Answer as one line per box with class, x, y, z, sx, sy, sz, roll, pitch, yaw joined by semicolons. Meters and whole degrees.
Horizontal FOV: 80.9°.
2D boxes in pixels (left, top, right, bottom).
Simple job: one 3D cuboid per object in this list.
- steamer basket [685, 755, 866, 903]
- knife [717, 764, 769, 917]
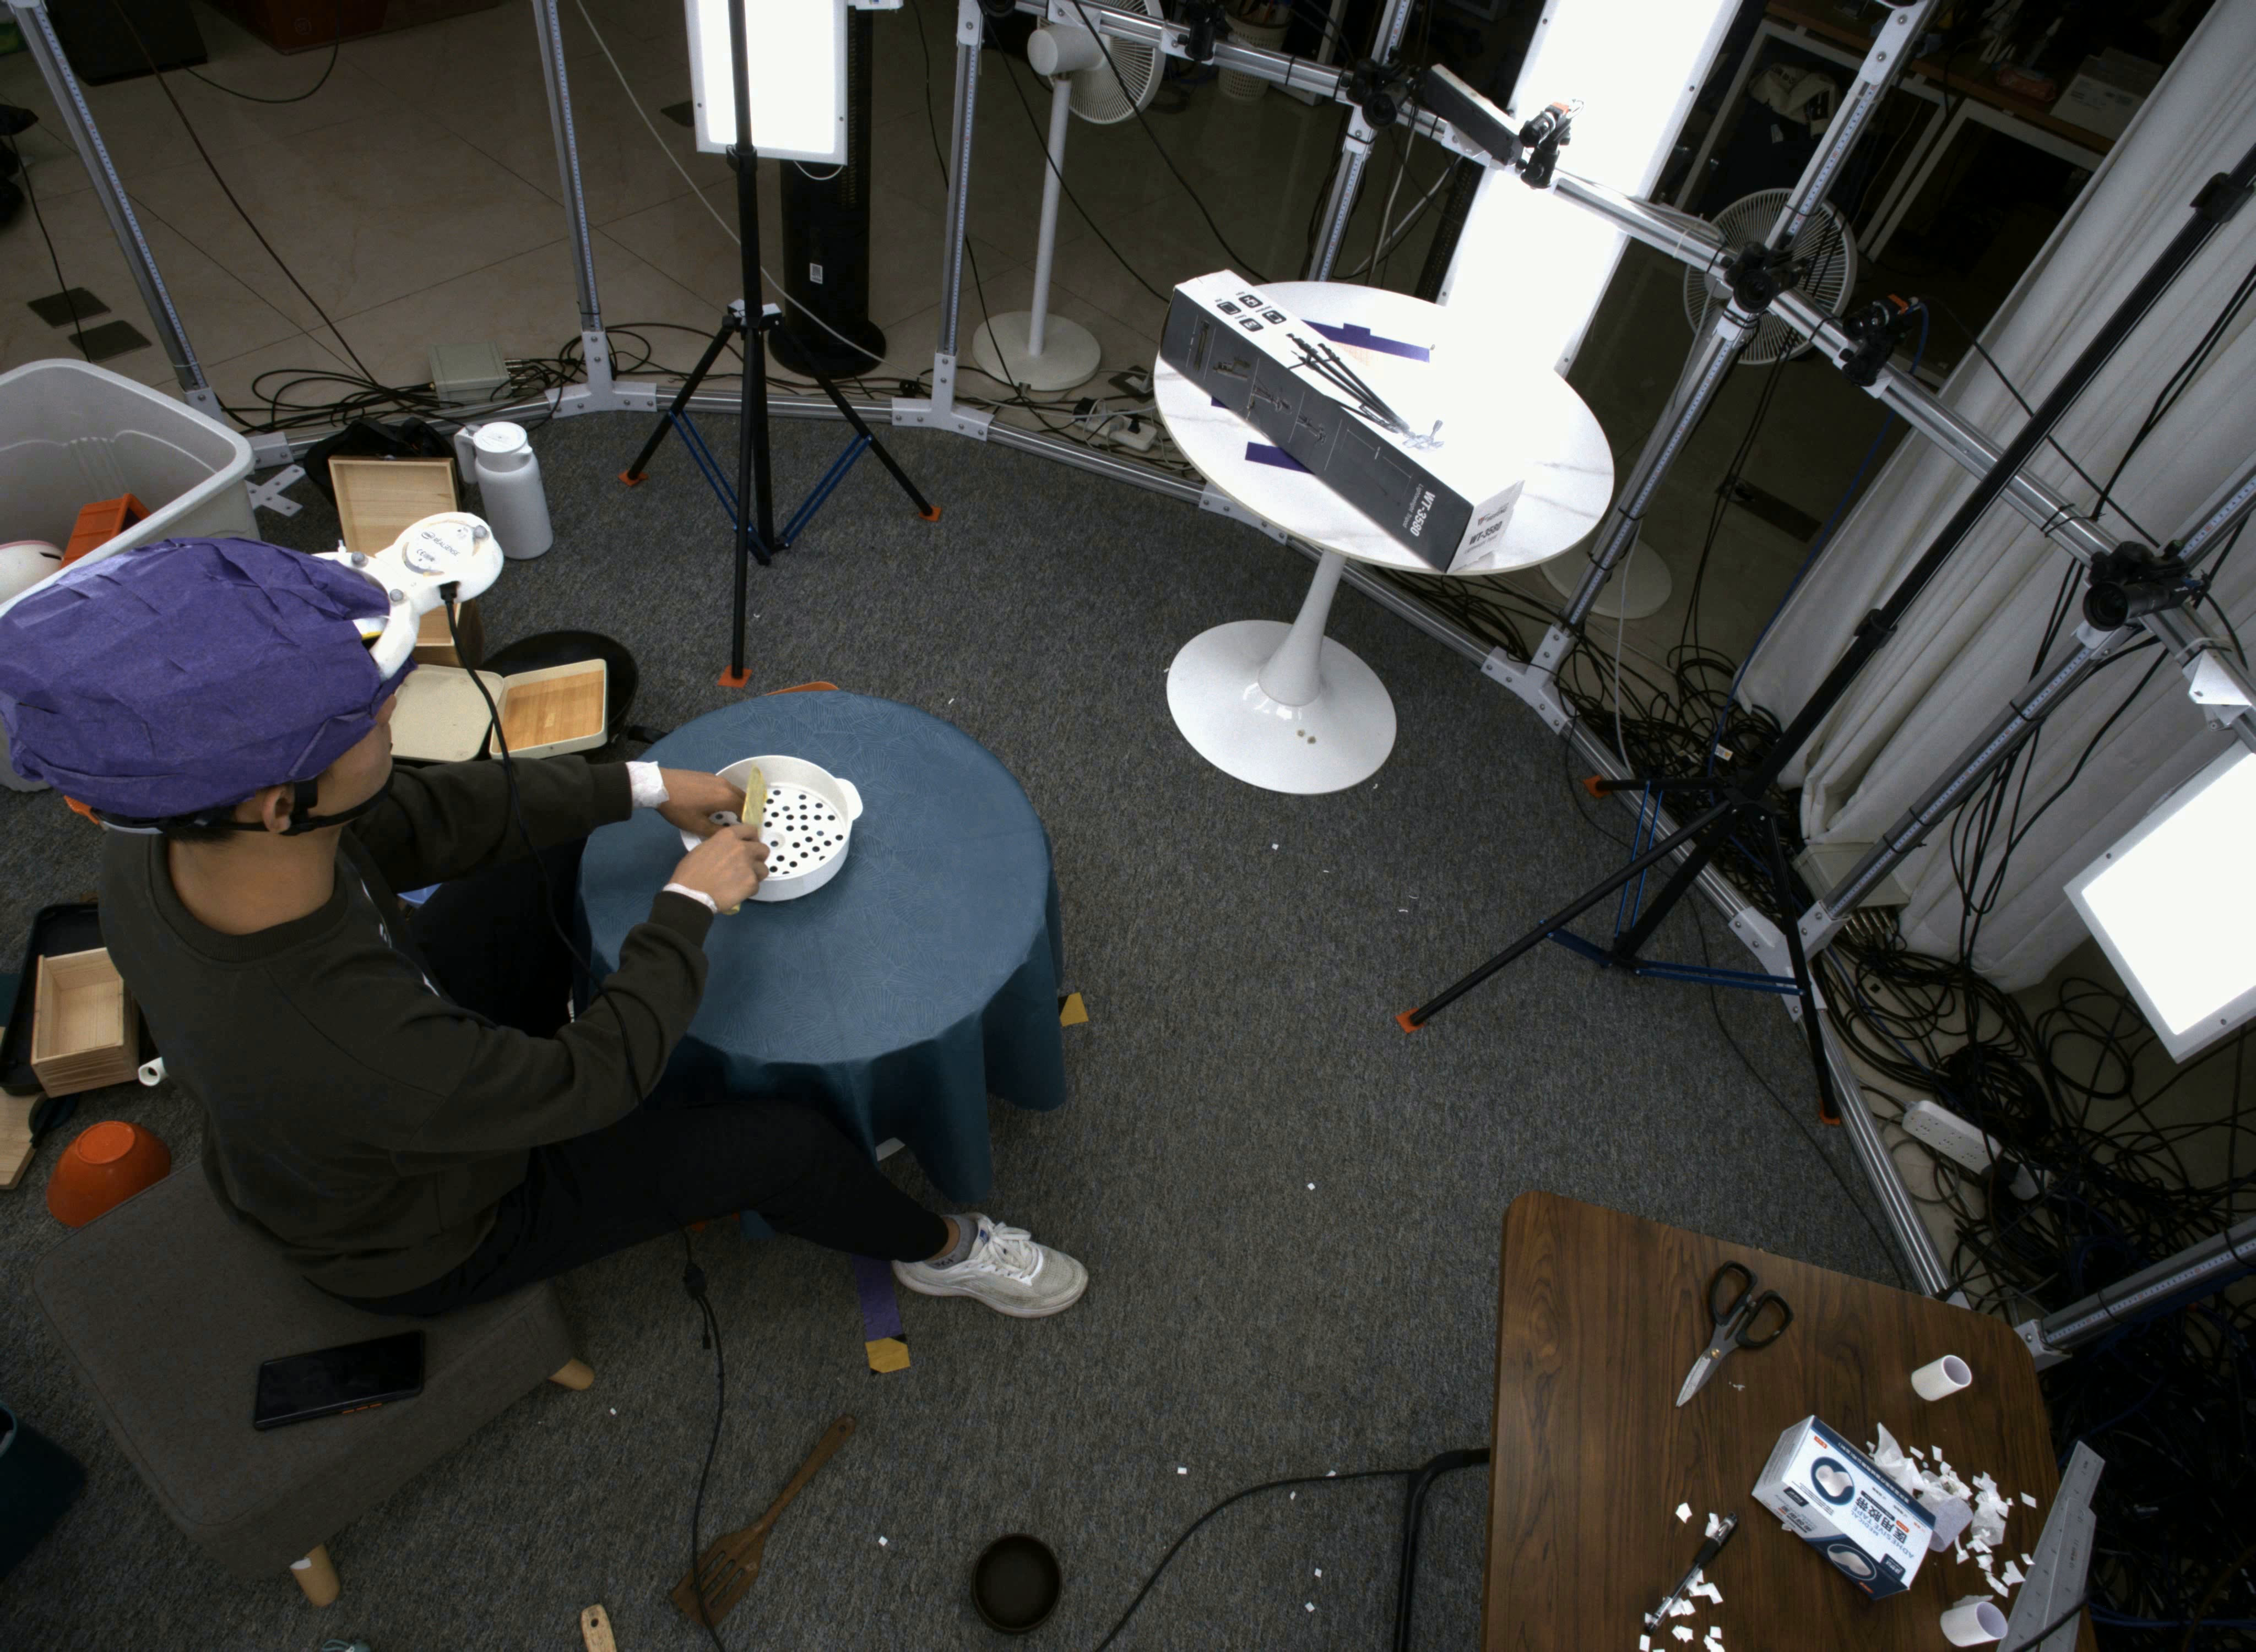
steamer basket;-0.454;0.003;1.682;0.231;0.071;0.197;-15;58;-22
knife;-0.470;0.018;1.600;0.027;0.084;0.282;-6;39;1
